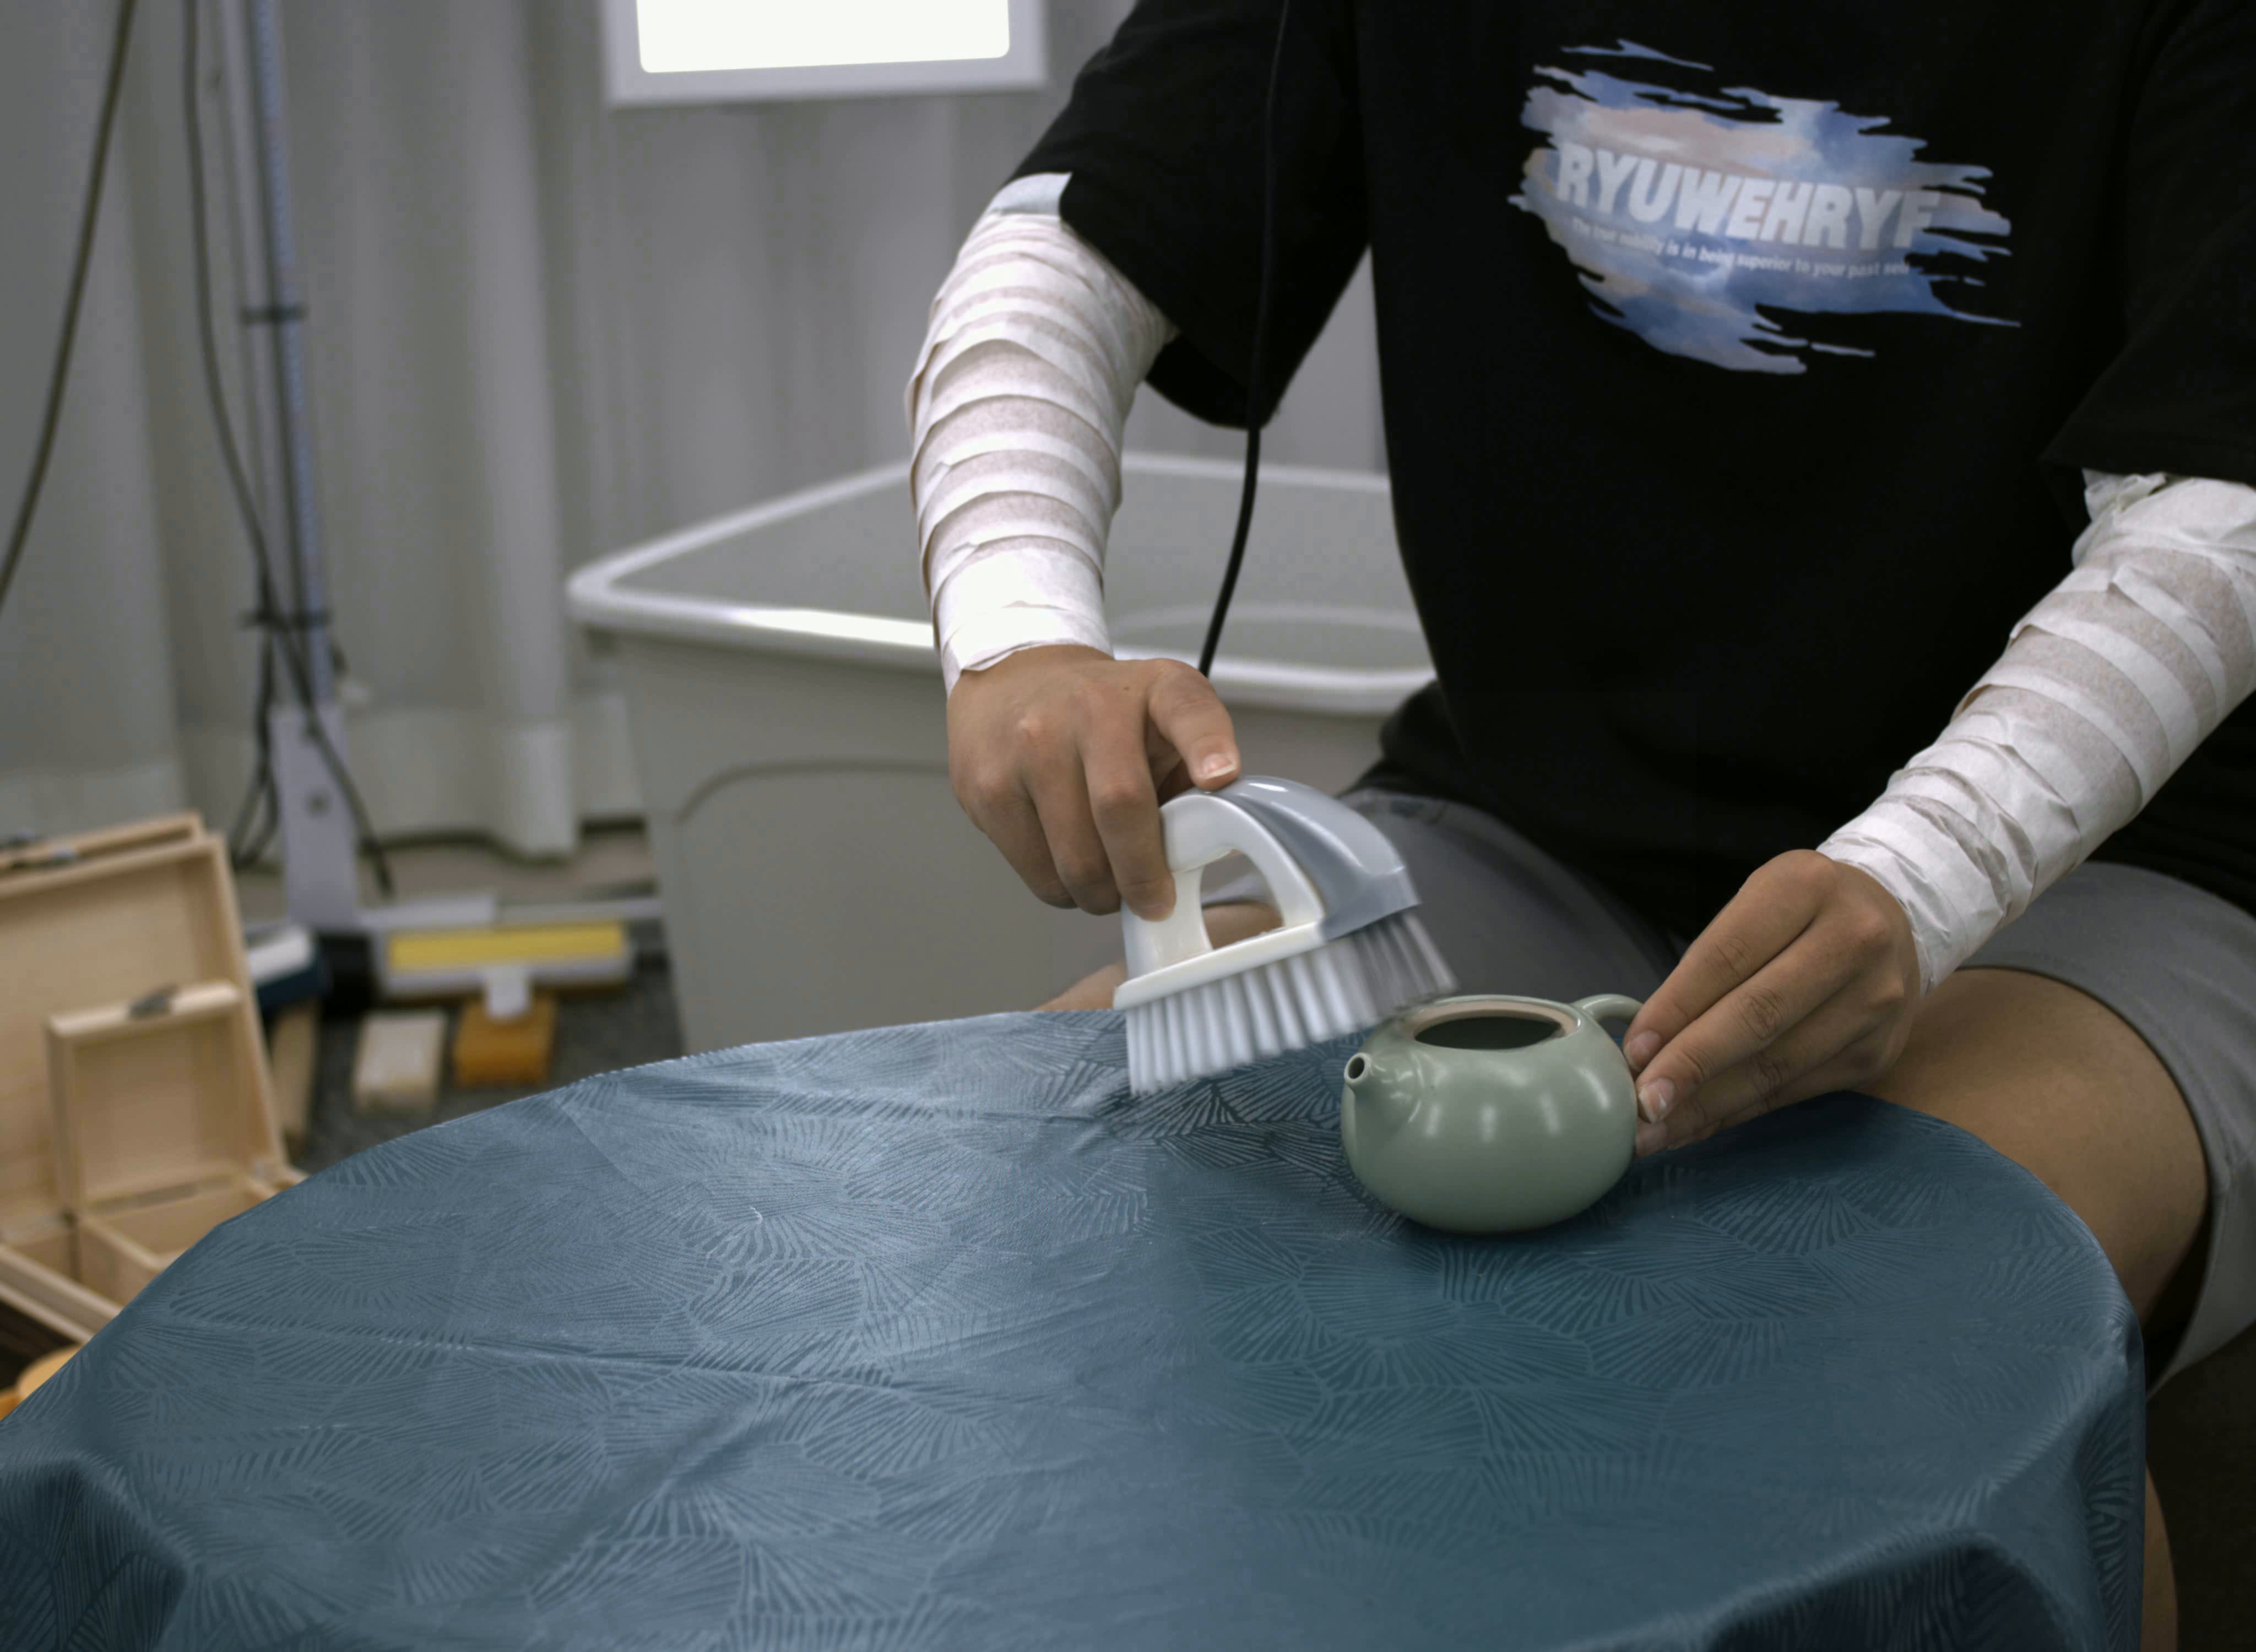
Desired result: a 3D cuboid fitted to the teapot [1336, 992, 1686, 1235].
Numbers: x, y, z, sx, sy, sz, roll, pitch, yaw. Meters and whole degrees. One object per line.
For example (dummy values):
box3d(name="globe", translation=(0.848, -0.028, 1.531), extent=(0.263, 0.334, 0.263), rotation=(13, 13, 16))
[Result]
box3d(name="teapot", translation=(0.119, 0.087, 1.678), extent=(0.128, 0.061, 0.092), rotation=(-11, 15, -29))

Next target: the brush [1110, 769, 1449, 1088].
box3d(name="brush", translation=(0.045, 0.025, 1.720), extent=(0.061, 0.094, 0.175), rotation=(-20, 1, -26))
